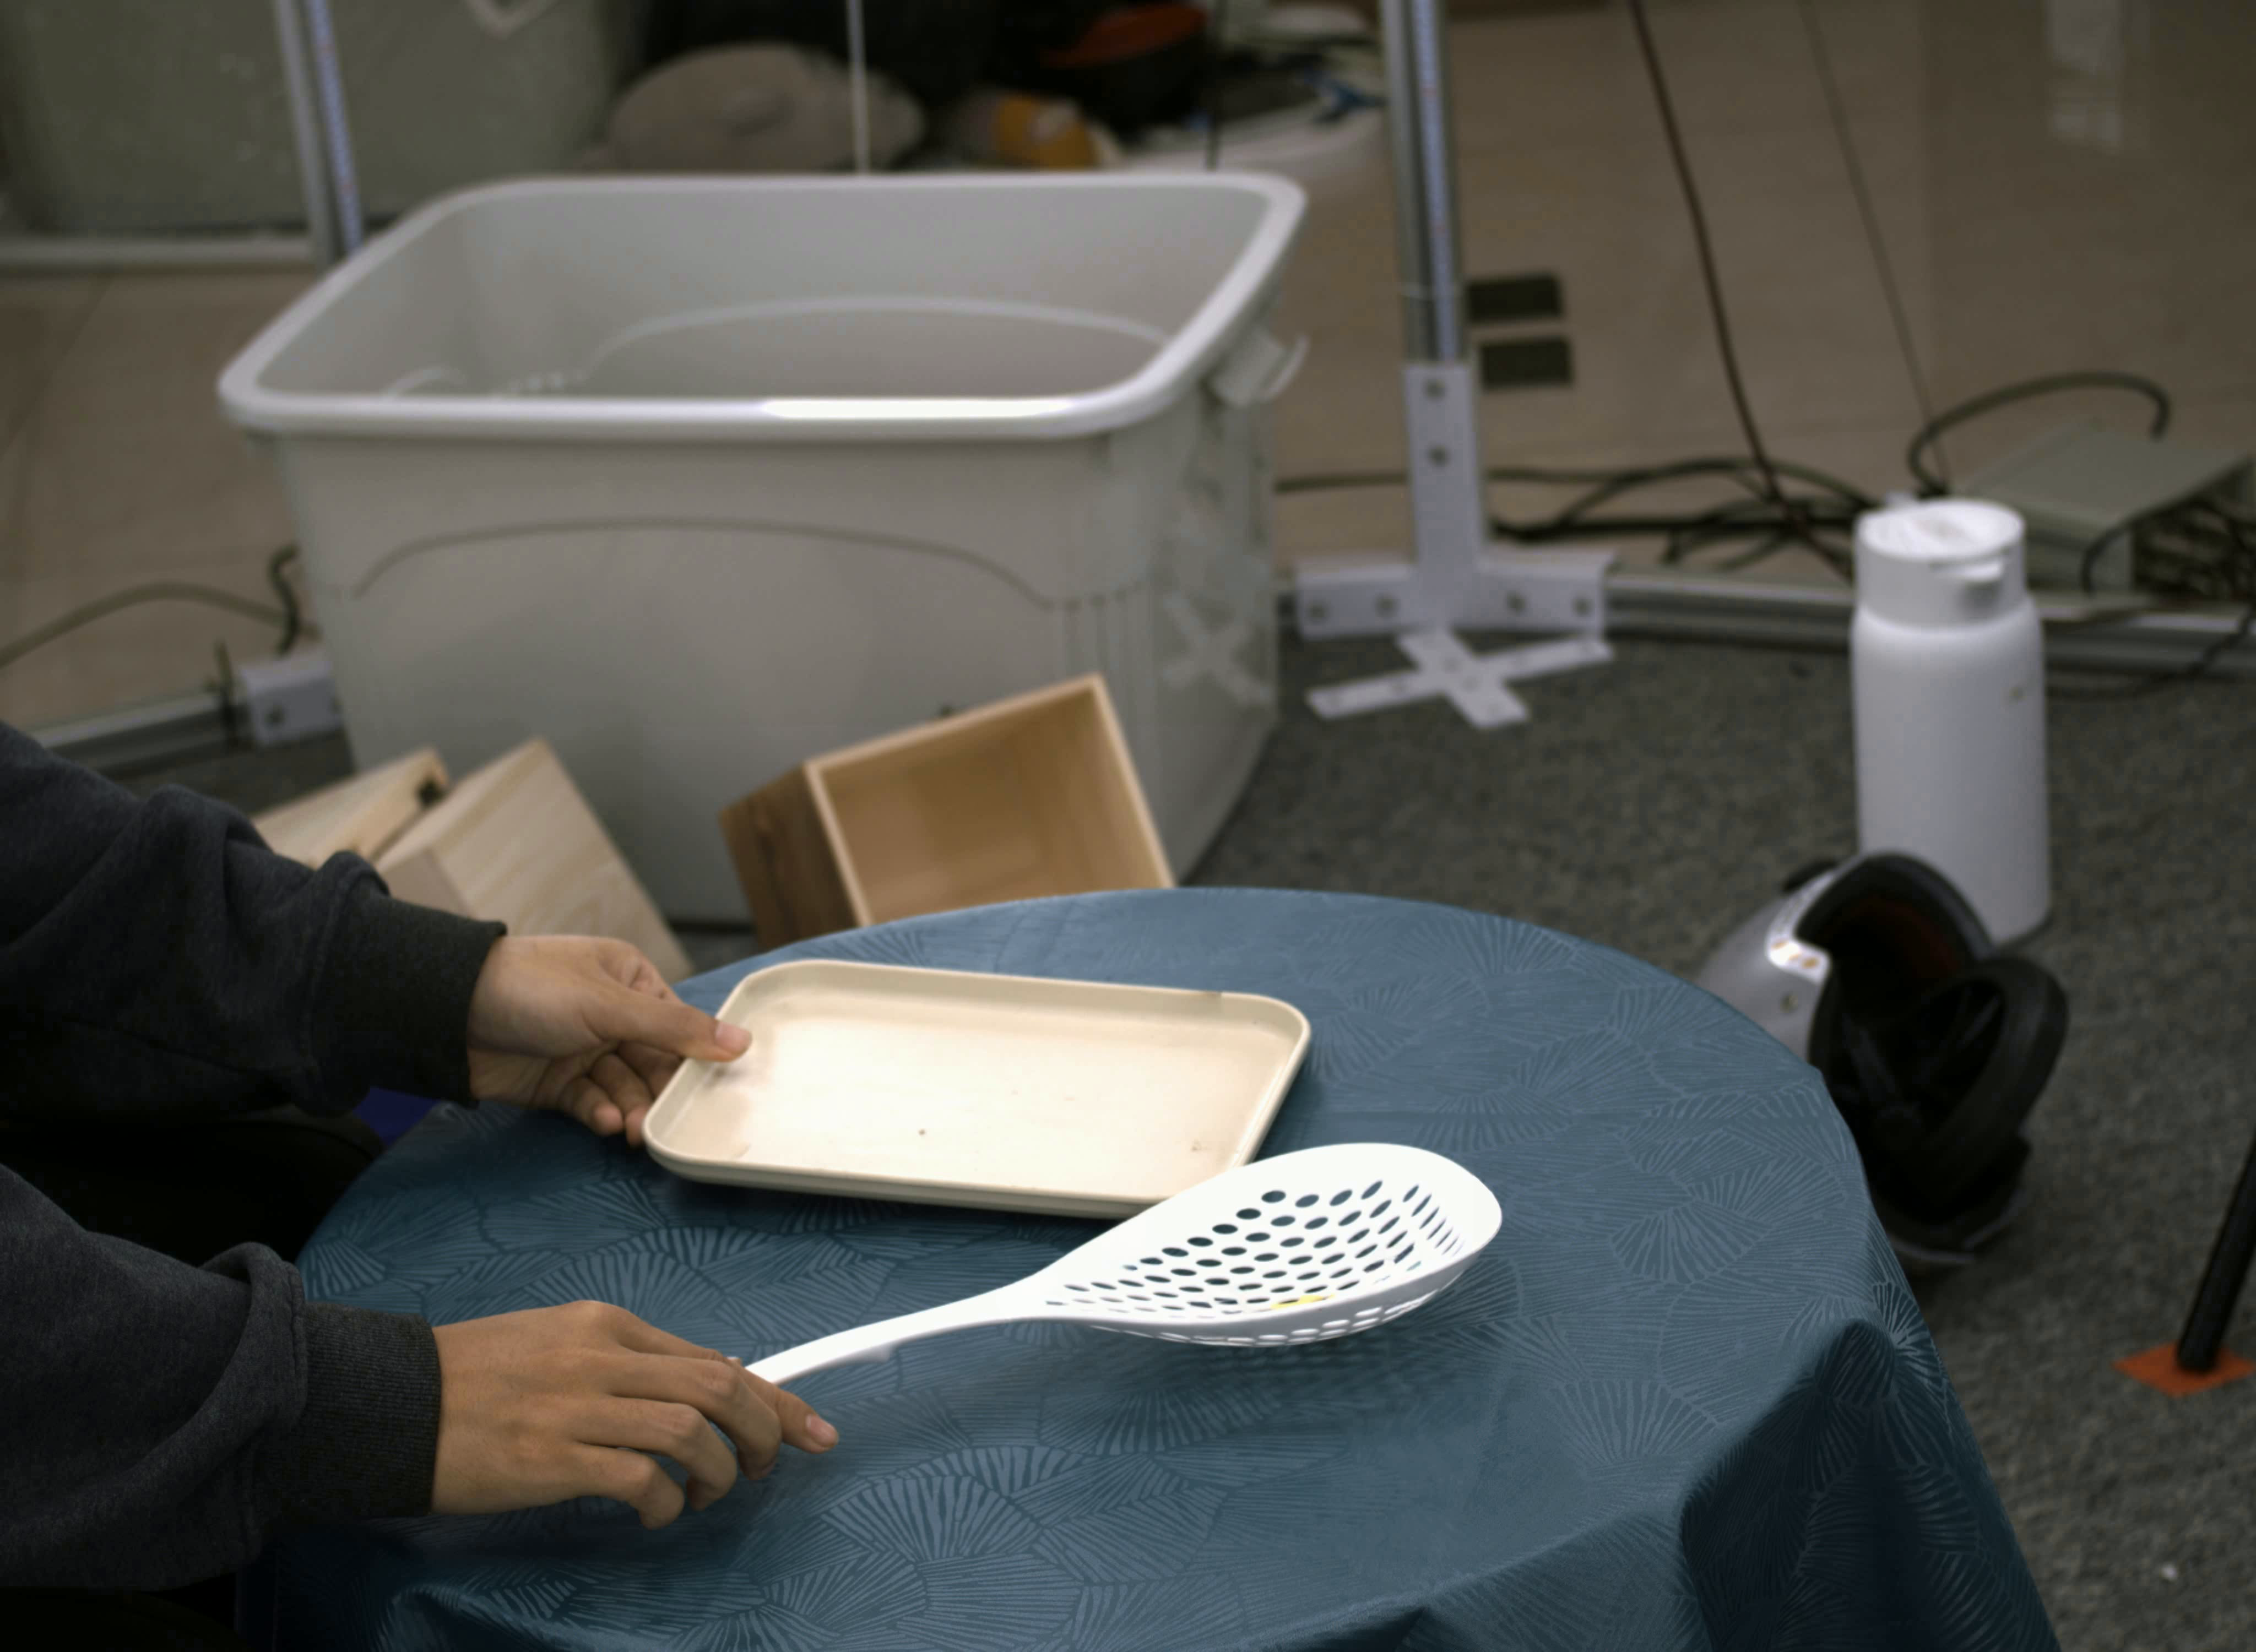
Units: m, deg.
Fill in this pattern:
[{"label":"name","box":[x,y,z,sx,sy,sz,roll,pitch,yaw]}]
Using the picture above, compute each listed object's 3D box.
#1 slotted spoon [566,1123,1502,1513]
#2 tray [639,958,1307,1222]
[{"label":"slotted spoon","box":[-0.035,0.179,2.013,0.347,0.051,0.135,-12,23,-14]},{"label":"tray","box":[-0.059,0.103,2.203,0.239,0.018,0.169,4,28,15]}]
